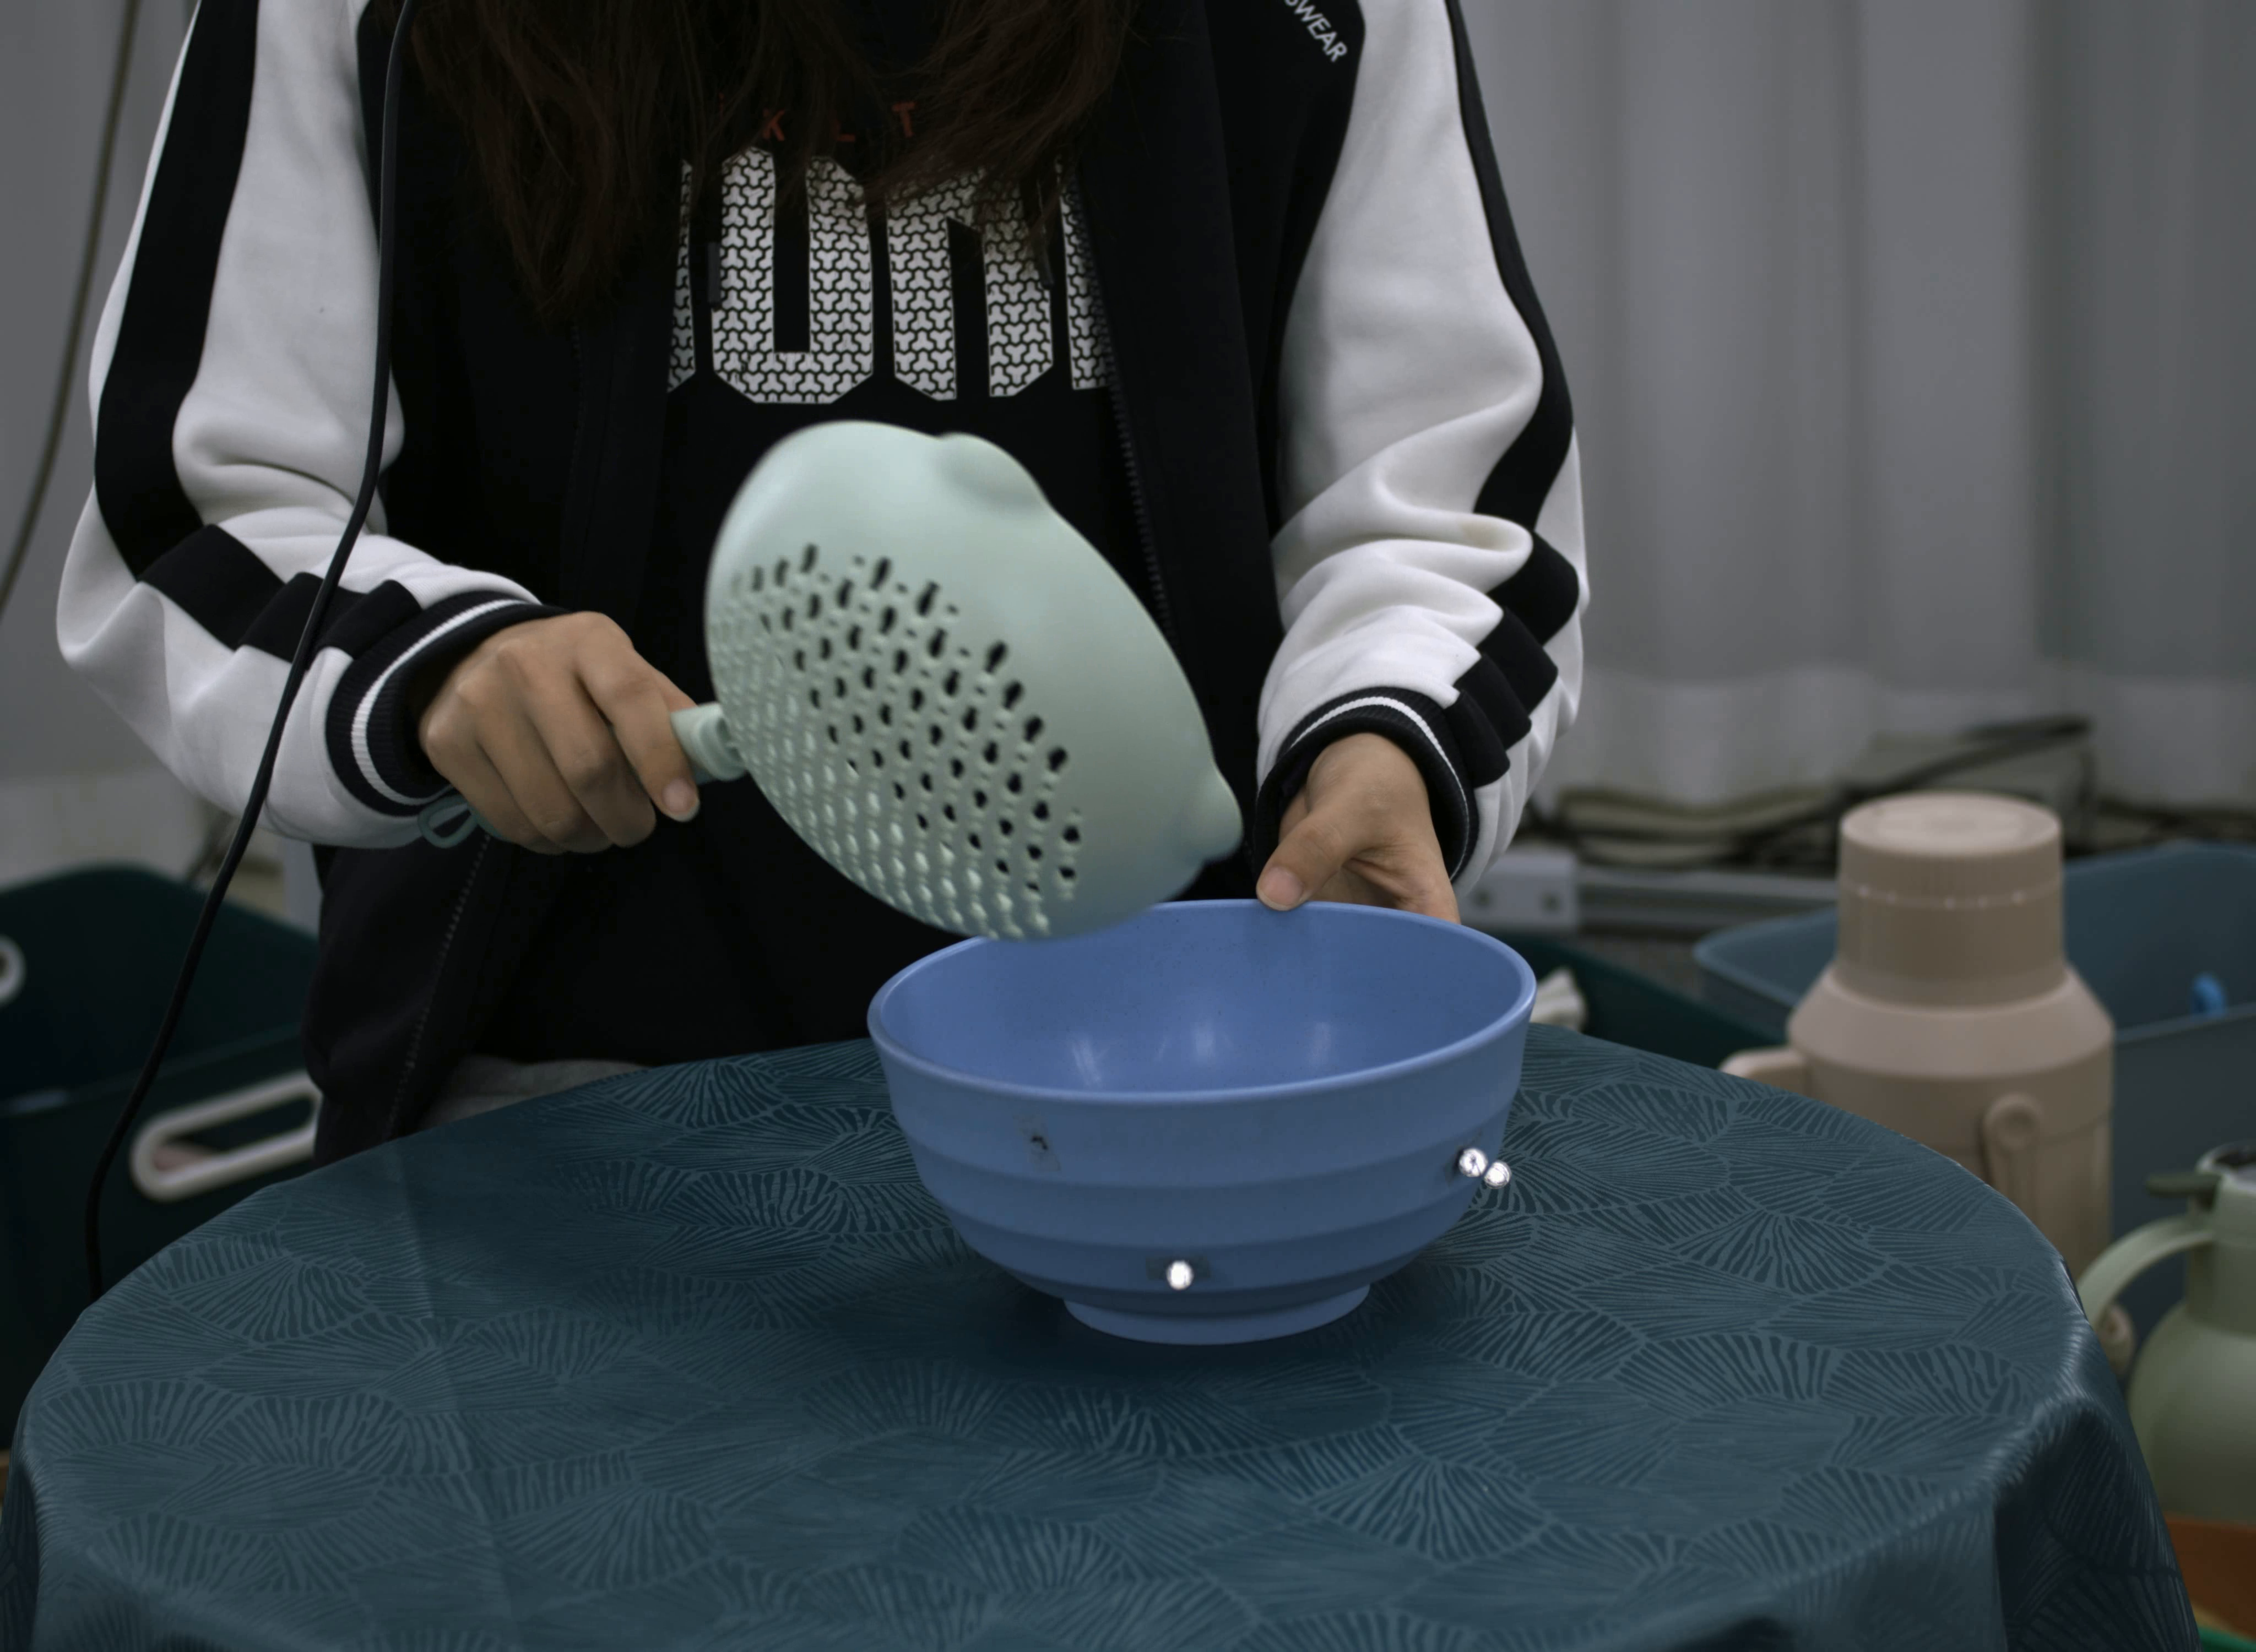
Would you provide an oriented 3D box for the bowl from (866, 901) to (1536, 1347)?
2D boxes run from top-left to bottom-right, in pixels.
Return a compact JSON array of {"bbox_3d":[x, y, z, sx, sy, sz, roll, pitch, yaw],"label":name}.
[{"bbox_3d":[0.024,0.093,1.608,0.196,0.095,0.198,-3,14,1],"label":"bowl"}]

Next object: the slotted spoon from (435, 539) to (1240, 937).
[{"bbox_3d":[-0.114,-0.014,1.618,0.167,0.076,0.360,35,-16,-26],"label":"slotted spoon"}]
